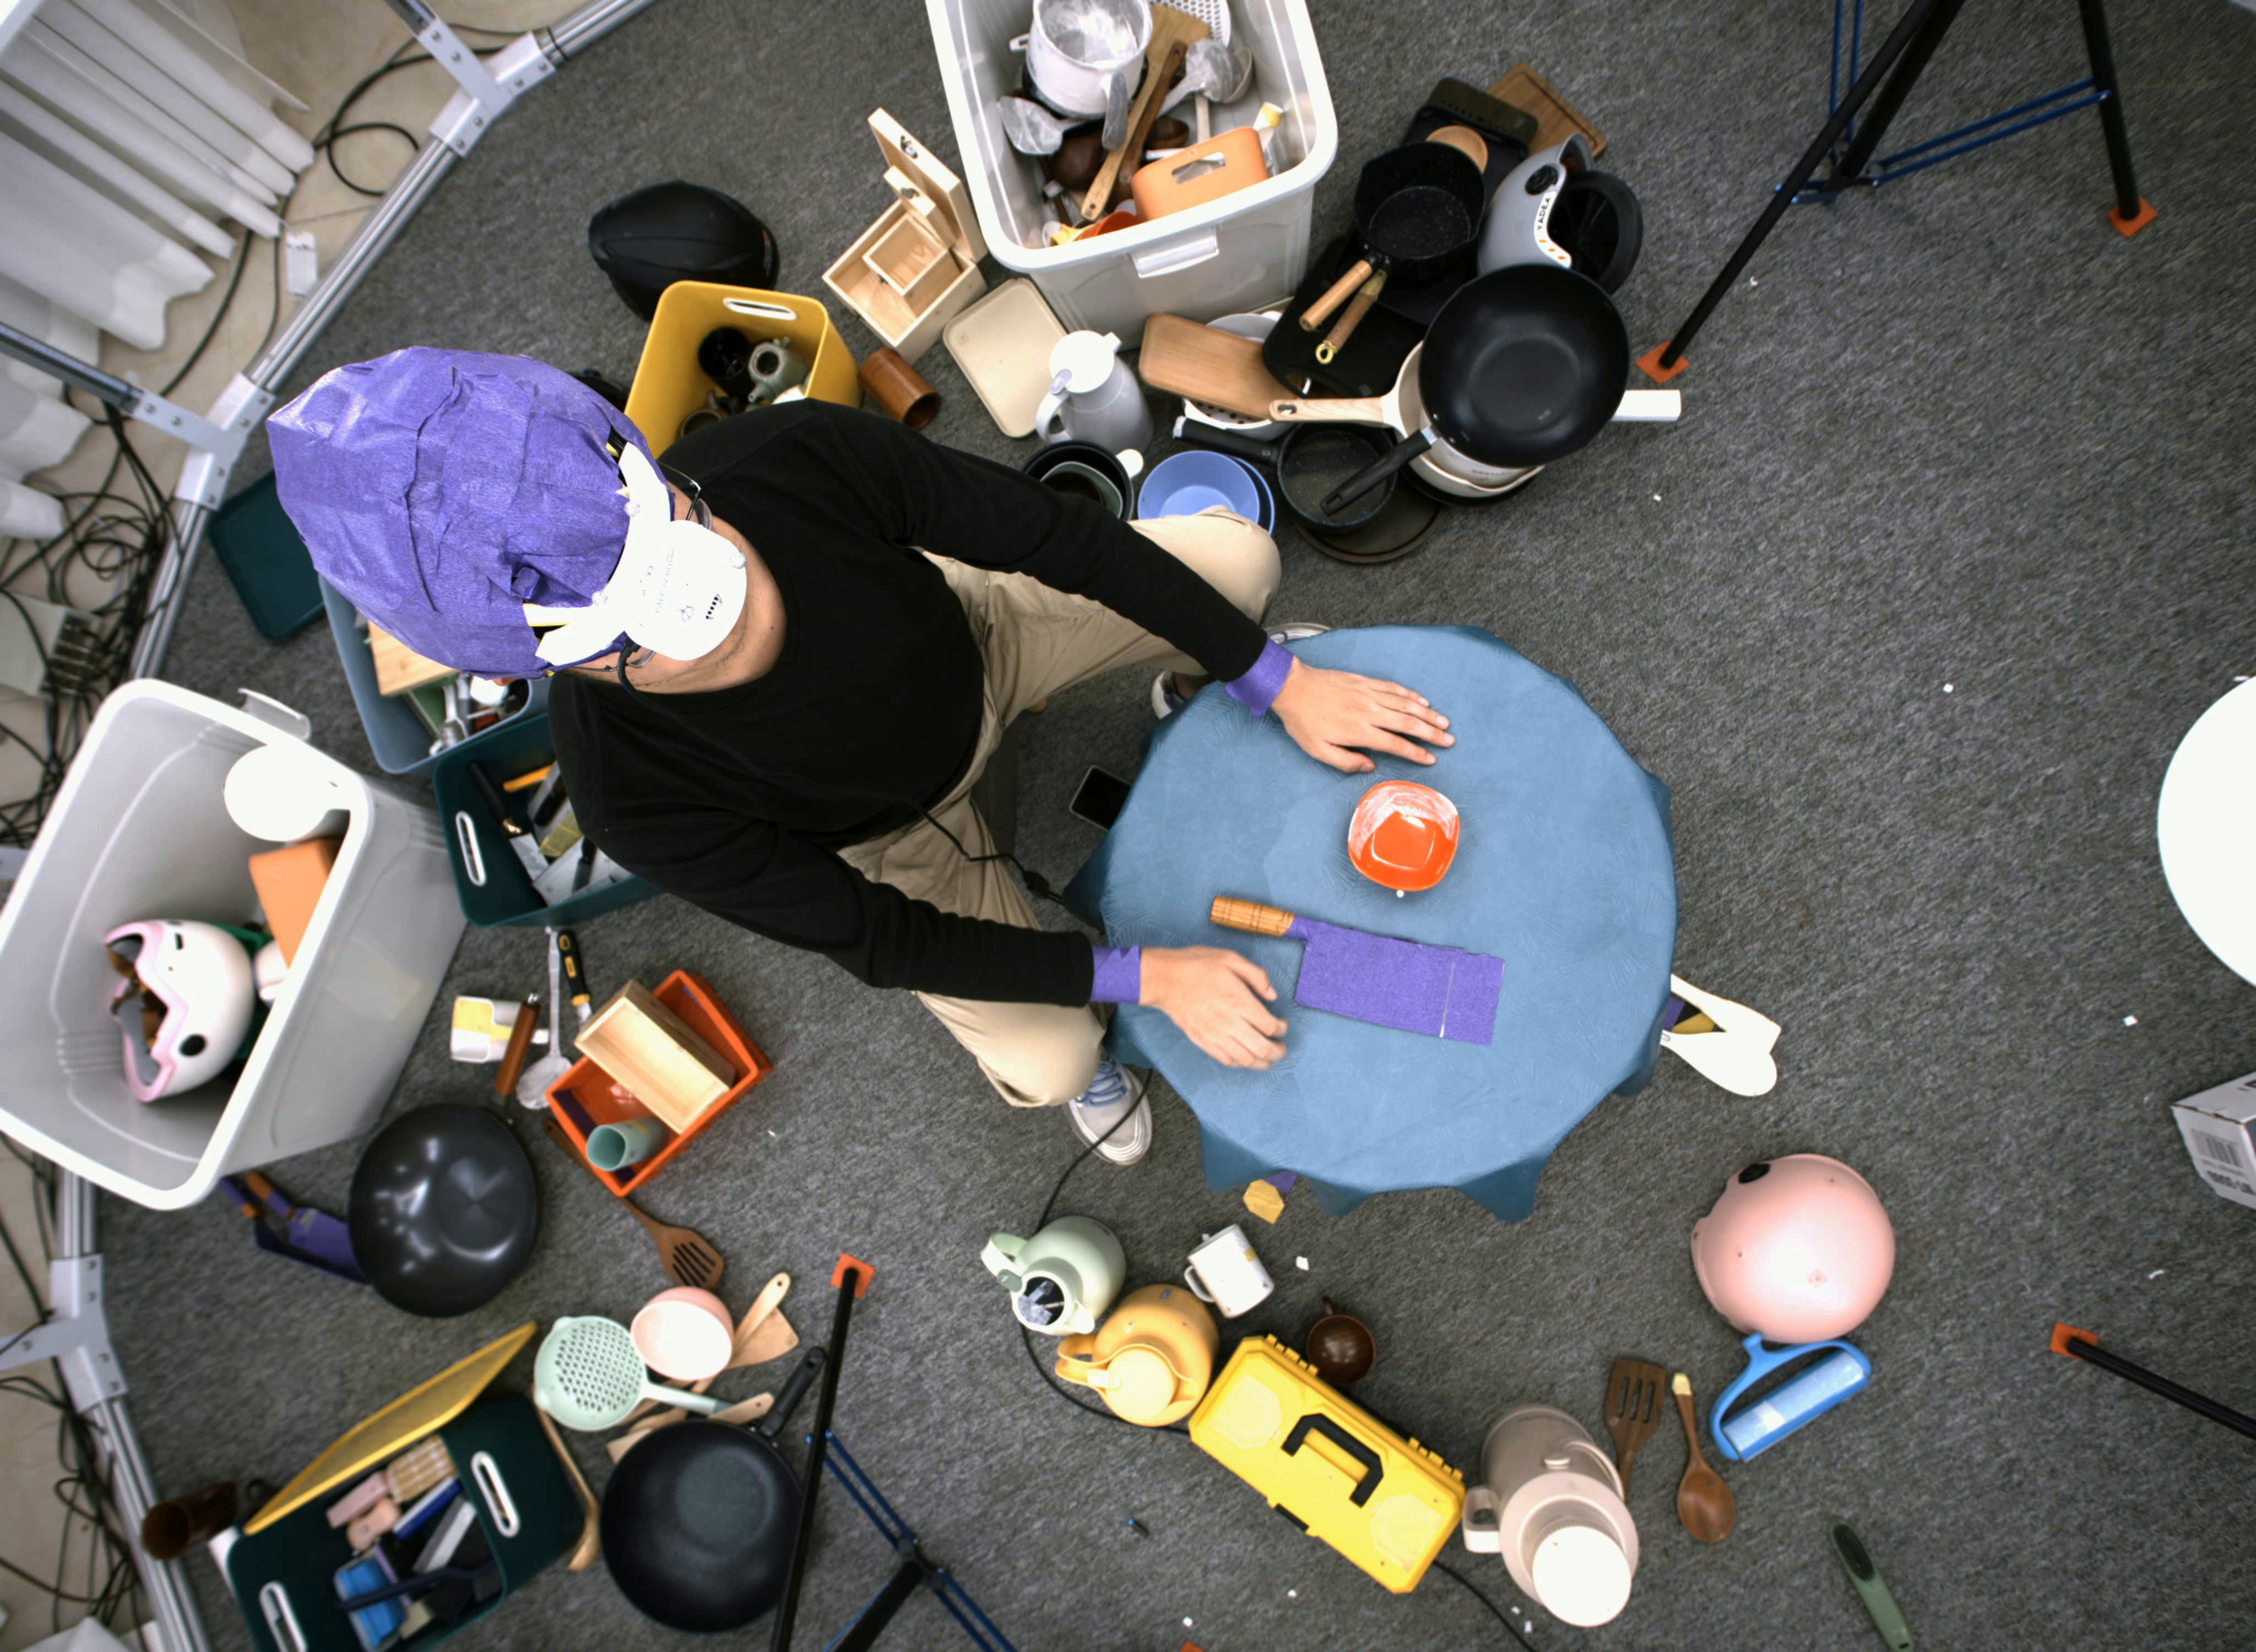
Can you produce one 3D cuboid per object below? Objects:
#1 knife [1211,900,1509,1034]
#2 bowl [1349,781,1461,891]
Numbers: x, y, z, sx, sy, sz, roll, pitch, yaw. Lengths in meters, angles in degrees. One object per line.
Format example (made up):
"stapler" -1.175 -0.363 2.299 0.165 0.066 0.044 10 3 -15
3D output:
"knife" 0.235 0.149 1.451 0.316 0.032 0.103 11 89 11
"bowl" 0.286 0.010 1.432 0.119 0.051 0.118 -1 87 9
